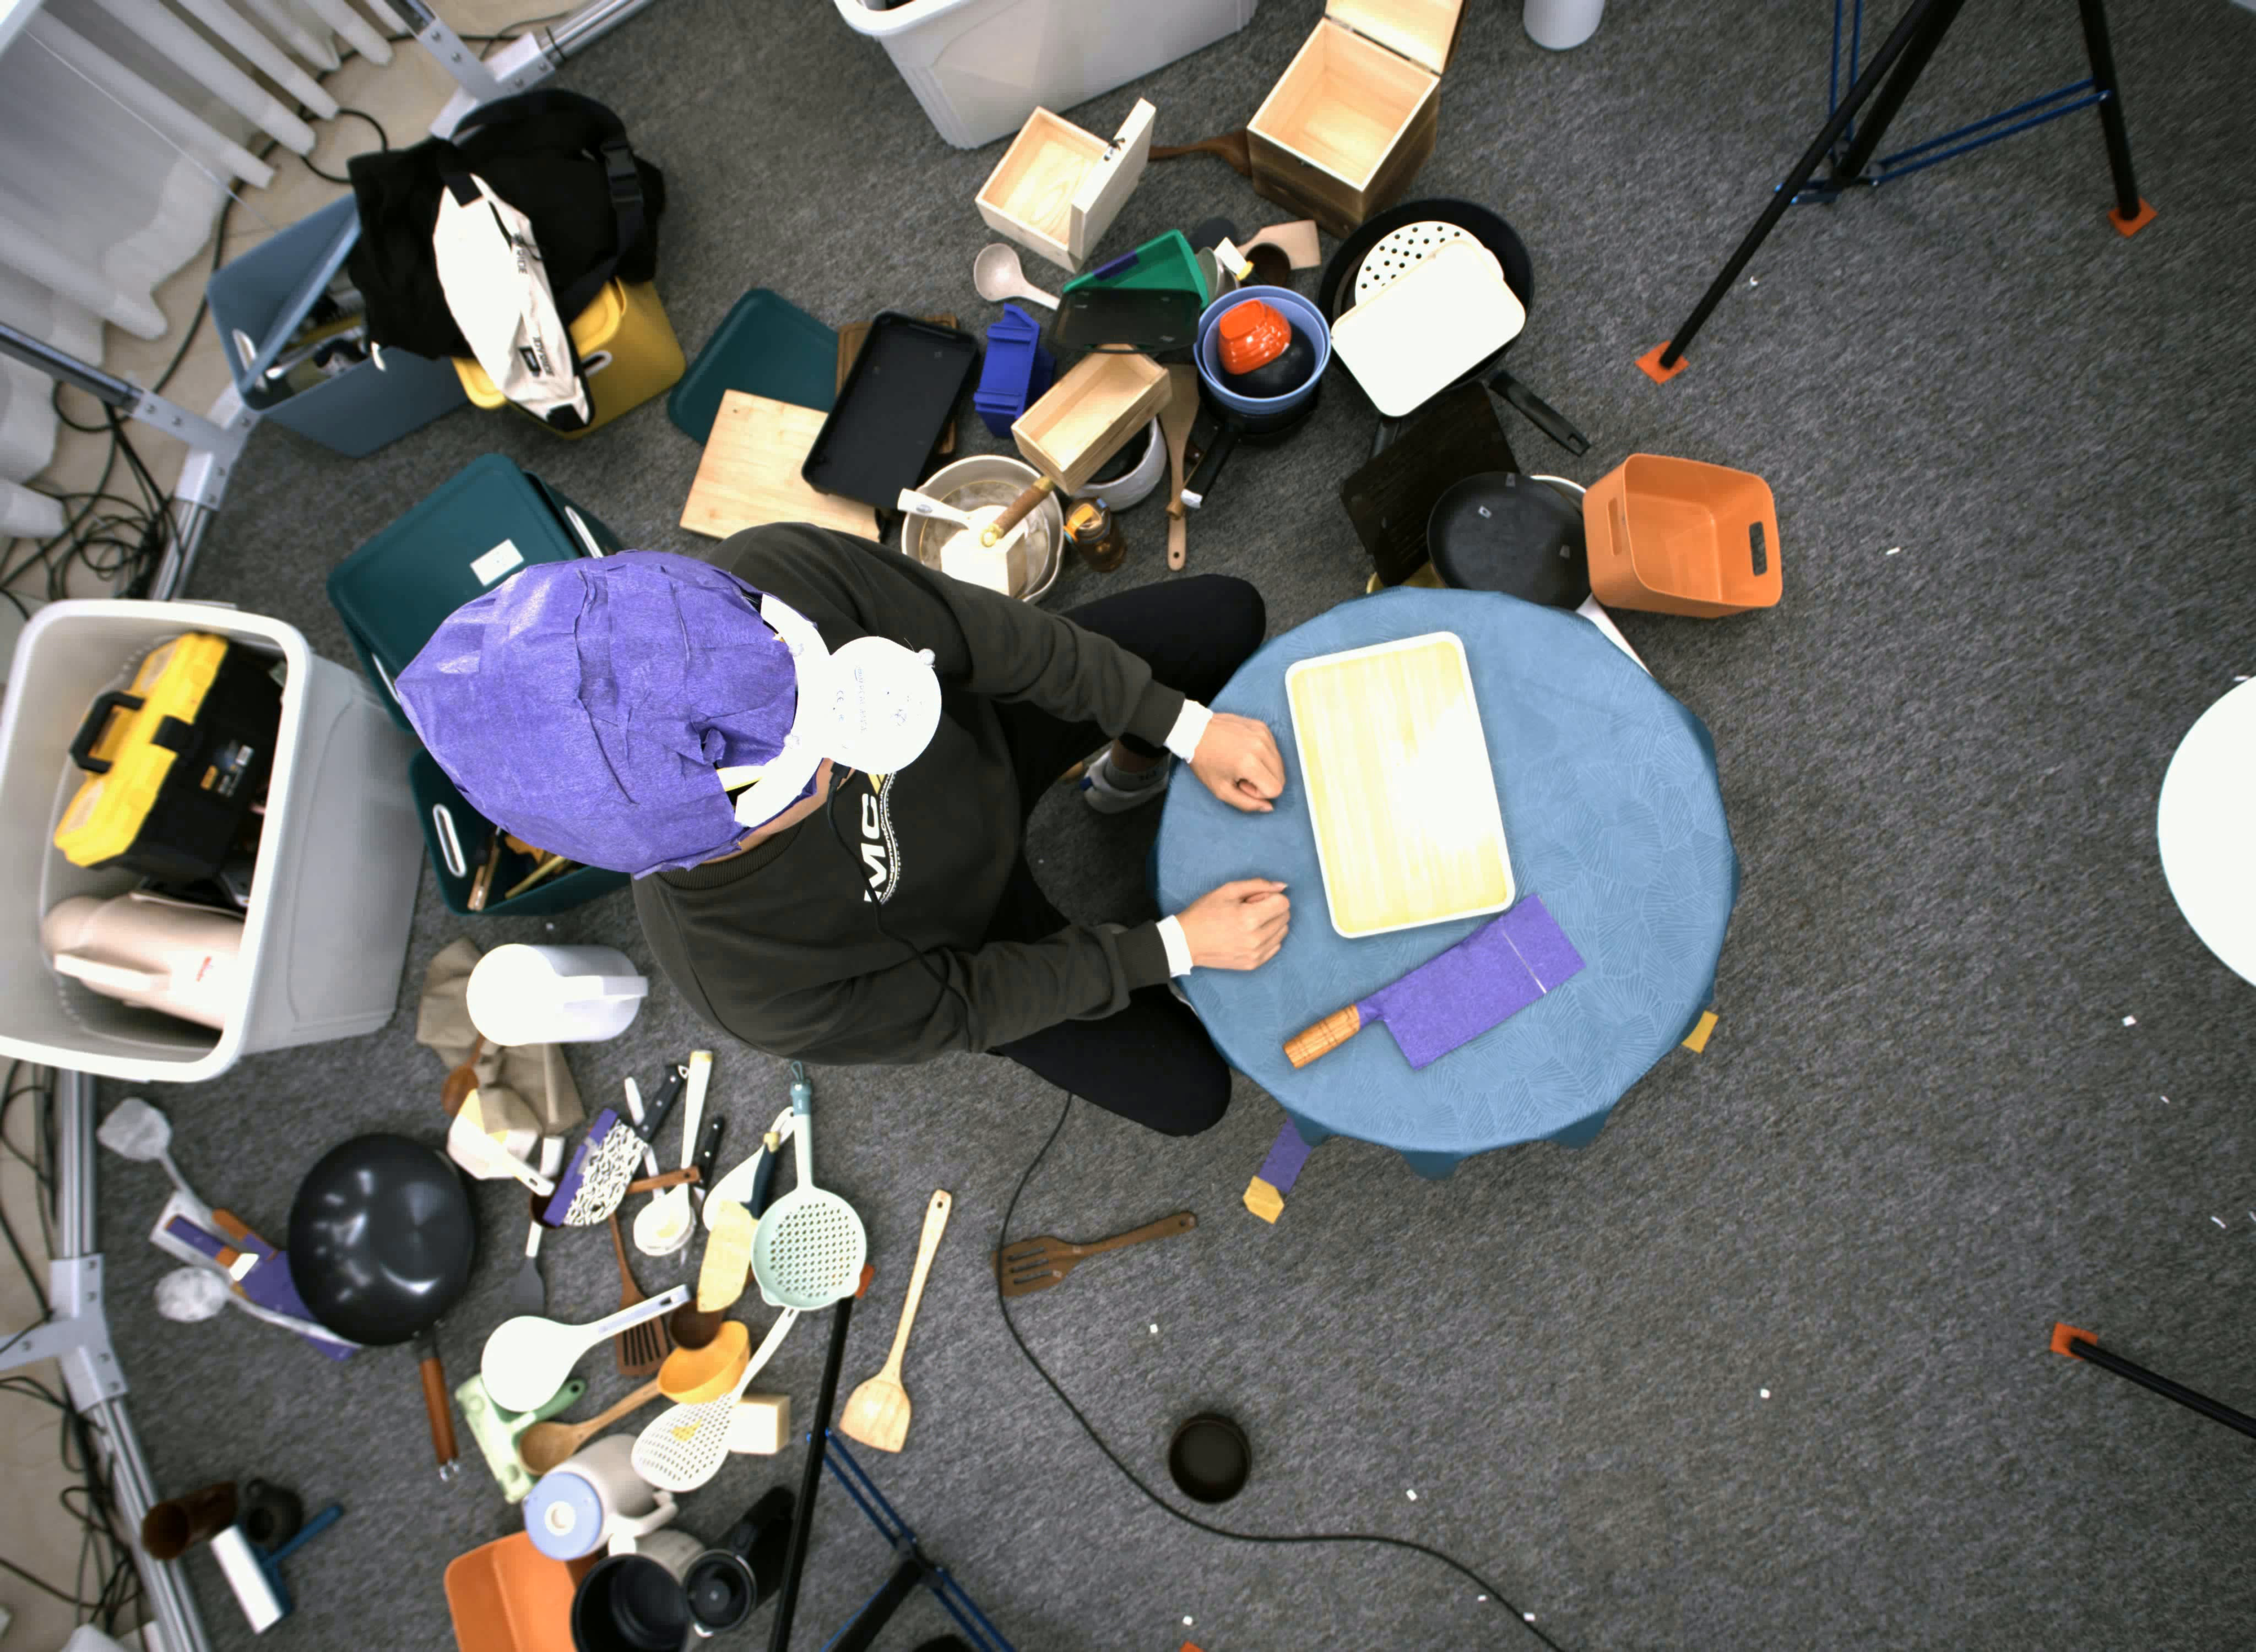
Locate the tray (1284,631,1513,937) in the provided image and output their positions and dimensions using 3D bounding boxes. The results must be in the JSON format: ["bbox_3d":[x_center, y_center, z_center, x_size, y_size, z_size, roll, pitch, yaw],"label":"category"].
[{"bbox_3d":[0.283,-0.045,1.451,0.192,0.027,0.298,-11,85,11],"label":"tray"}]

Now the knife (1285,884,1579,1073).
[{"bbox_3d":[0.317,0.184,1.431,0.317,0.032,0.103,-34,80,7],"label":"knife"}]
